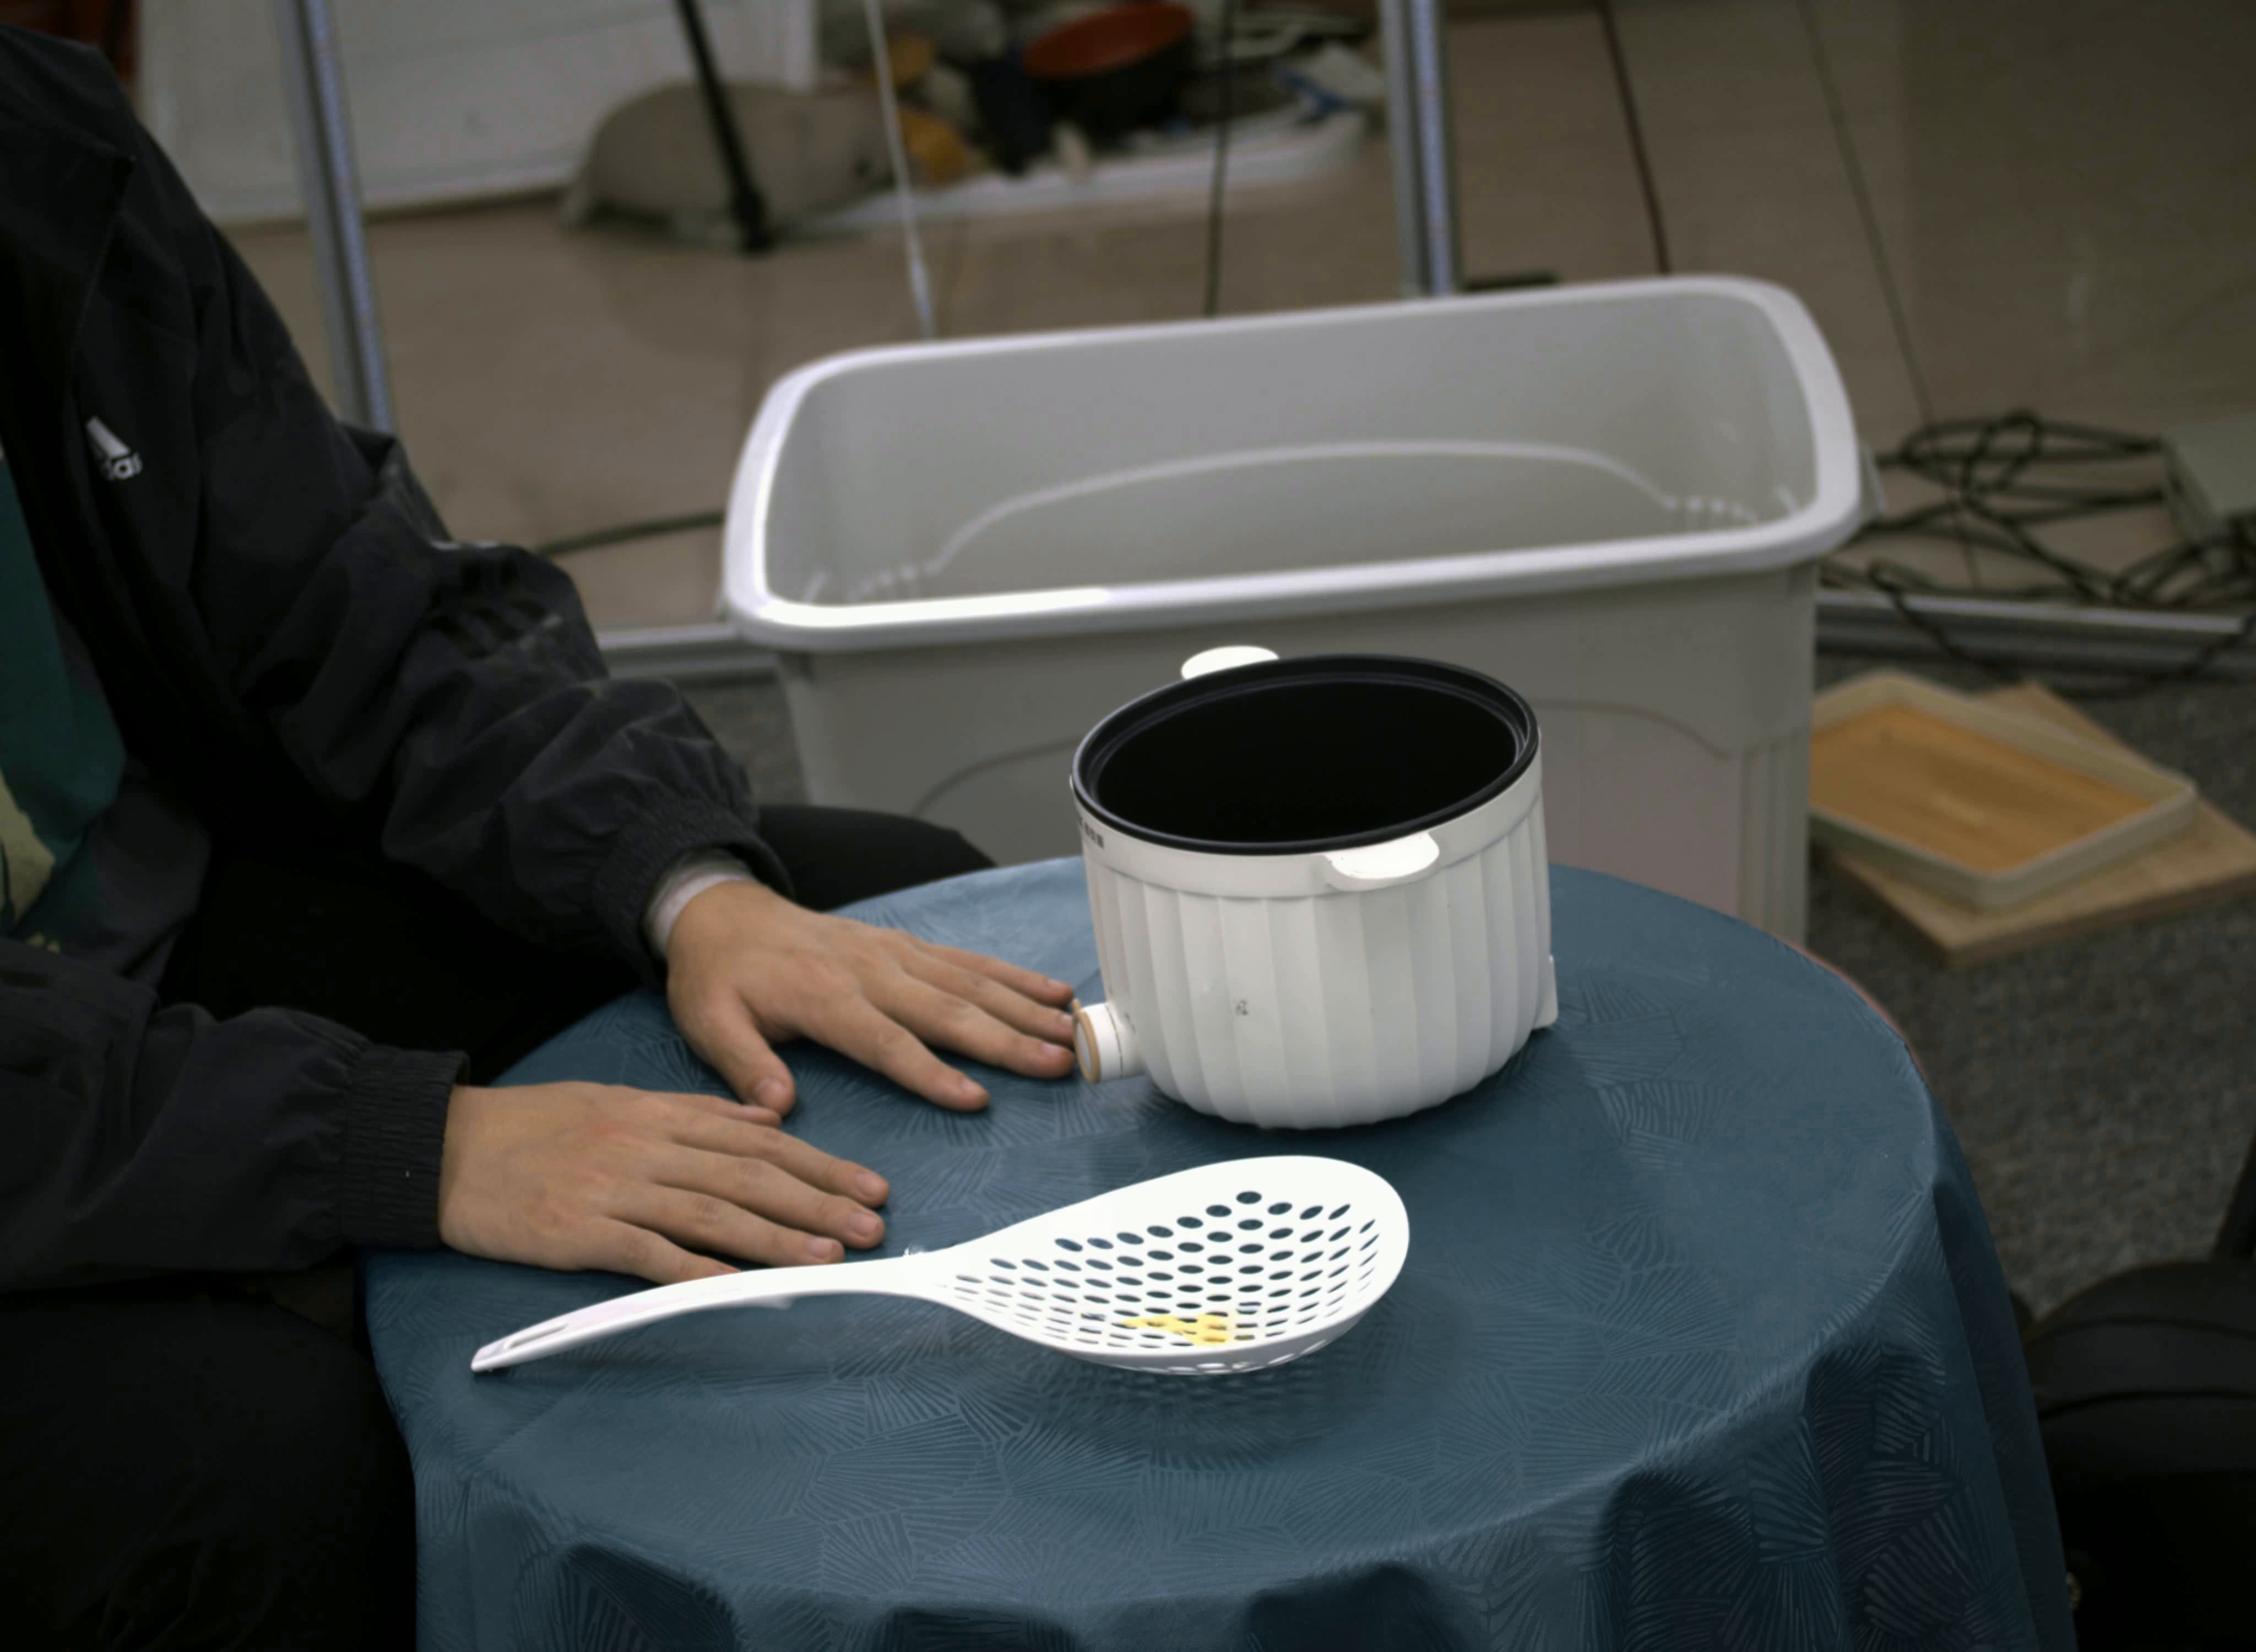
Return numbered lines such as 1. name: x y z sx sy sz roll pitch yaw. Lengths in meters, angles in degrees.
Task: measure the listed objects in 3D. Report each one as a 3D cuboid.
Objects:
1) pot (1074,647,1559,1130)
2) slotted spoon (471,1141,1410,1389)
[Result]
1. pot: 0.071 0.031 2.195 0.190 0.145 0.237 -10 24 -13
2. slotted spoon: -0.070 0.171 2.044 0.347 0.051 0.135 -2 27 8
